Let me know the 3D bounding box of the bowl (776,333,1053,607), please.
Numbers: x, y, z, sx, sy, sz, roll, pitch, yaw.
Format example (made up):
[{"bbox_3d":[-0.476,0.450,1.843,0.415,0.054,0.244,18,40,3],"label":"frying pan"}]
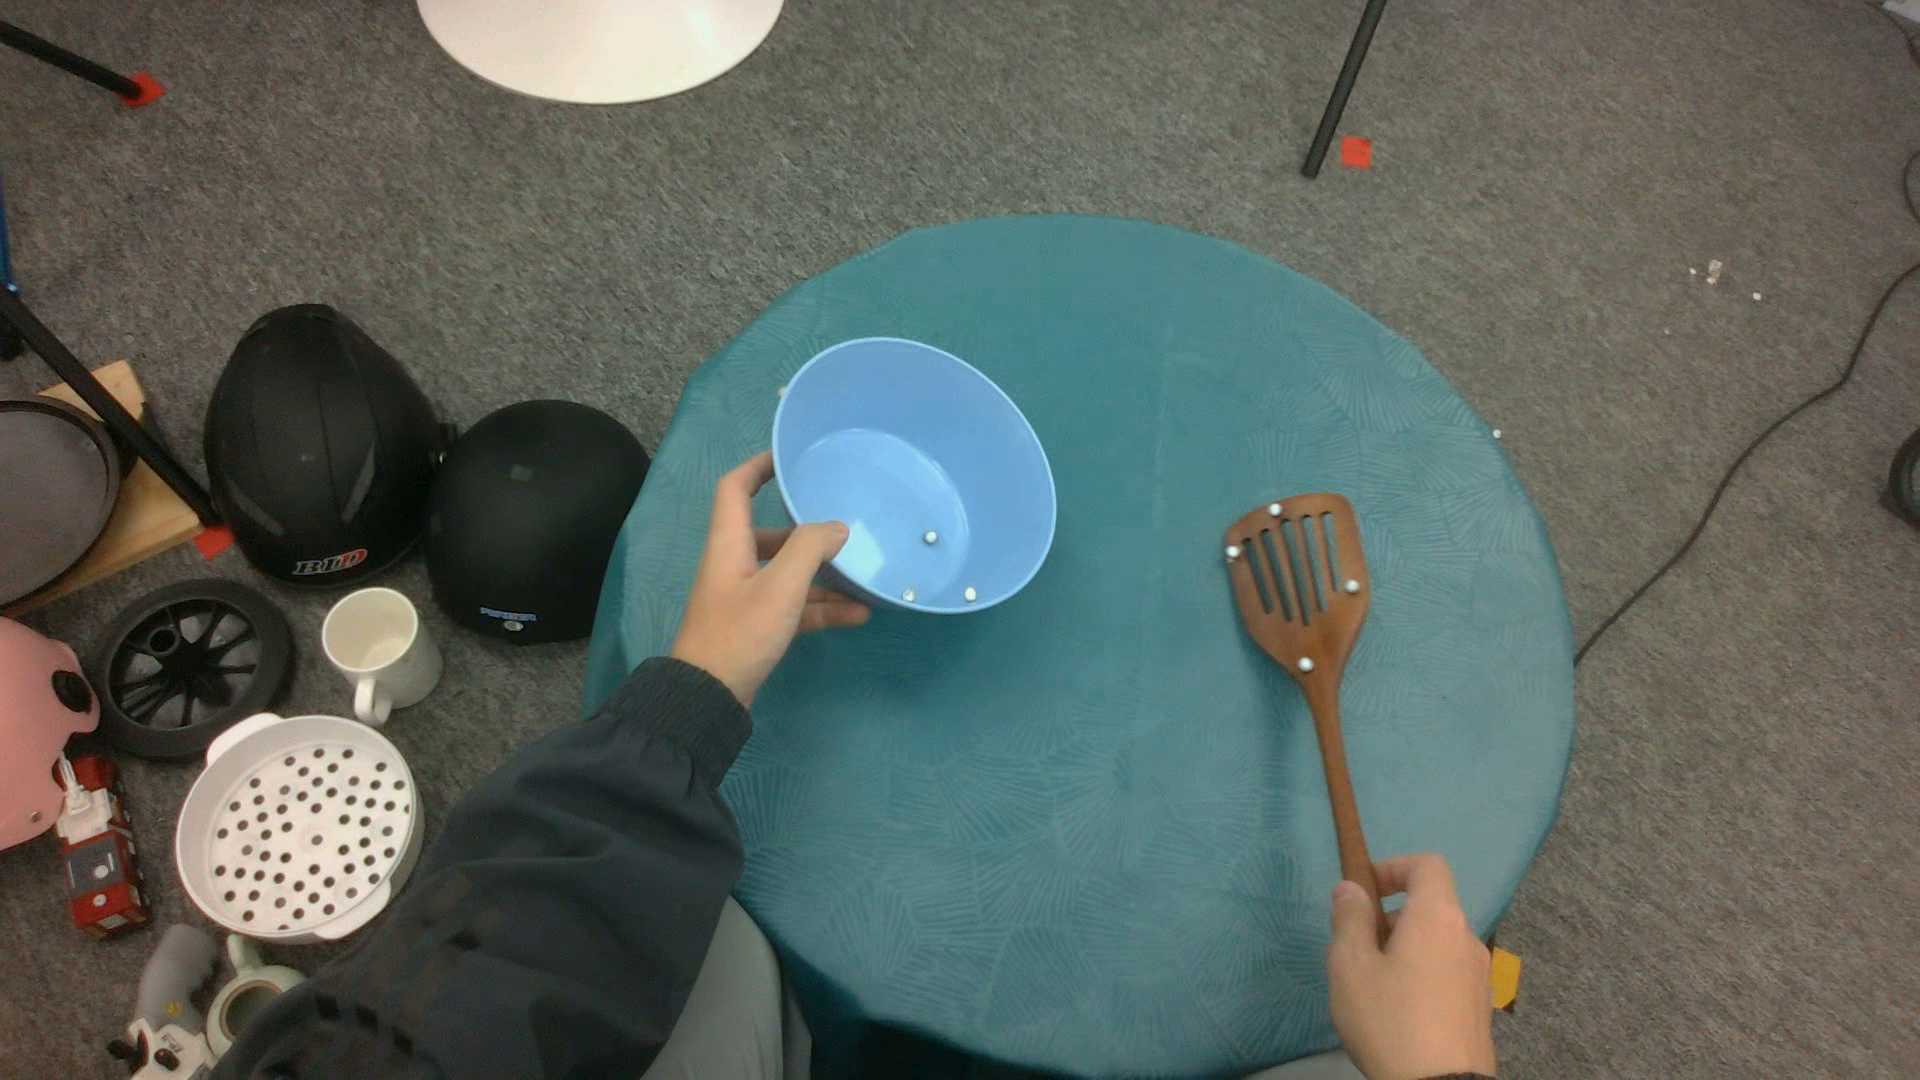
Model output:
[{"bbox_3d":[-0.036,-0.031,0.815,0.176,0.070,0.177,13,60,-23],"label":"bowl"}]

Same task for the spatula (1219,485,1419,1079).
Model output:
[{"bbox_3d":[0.210,0.128,0.776,0.085,0.024,0.388,-20,48,23],"label":"spatula"}]
